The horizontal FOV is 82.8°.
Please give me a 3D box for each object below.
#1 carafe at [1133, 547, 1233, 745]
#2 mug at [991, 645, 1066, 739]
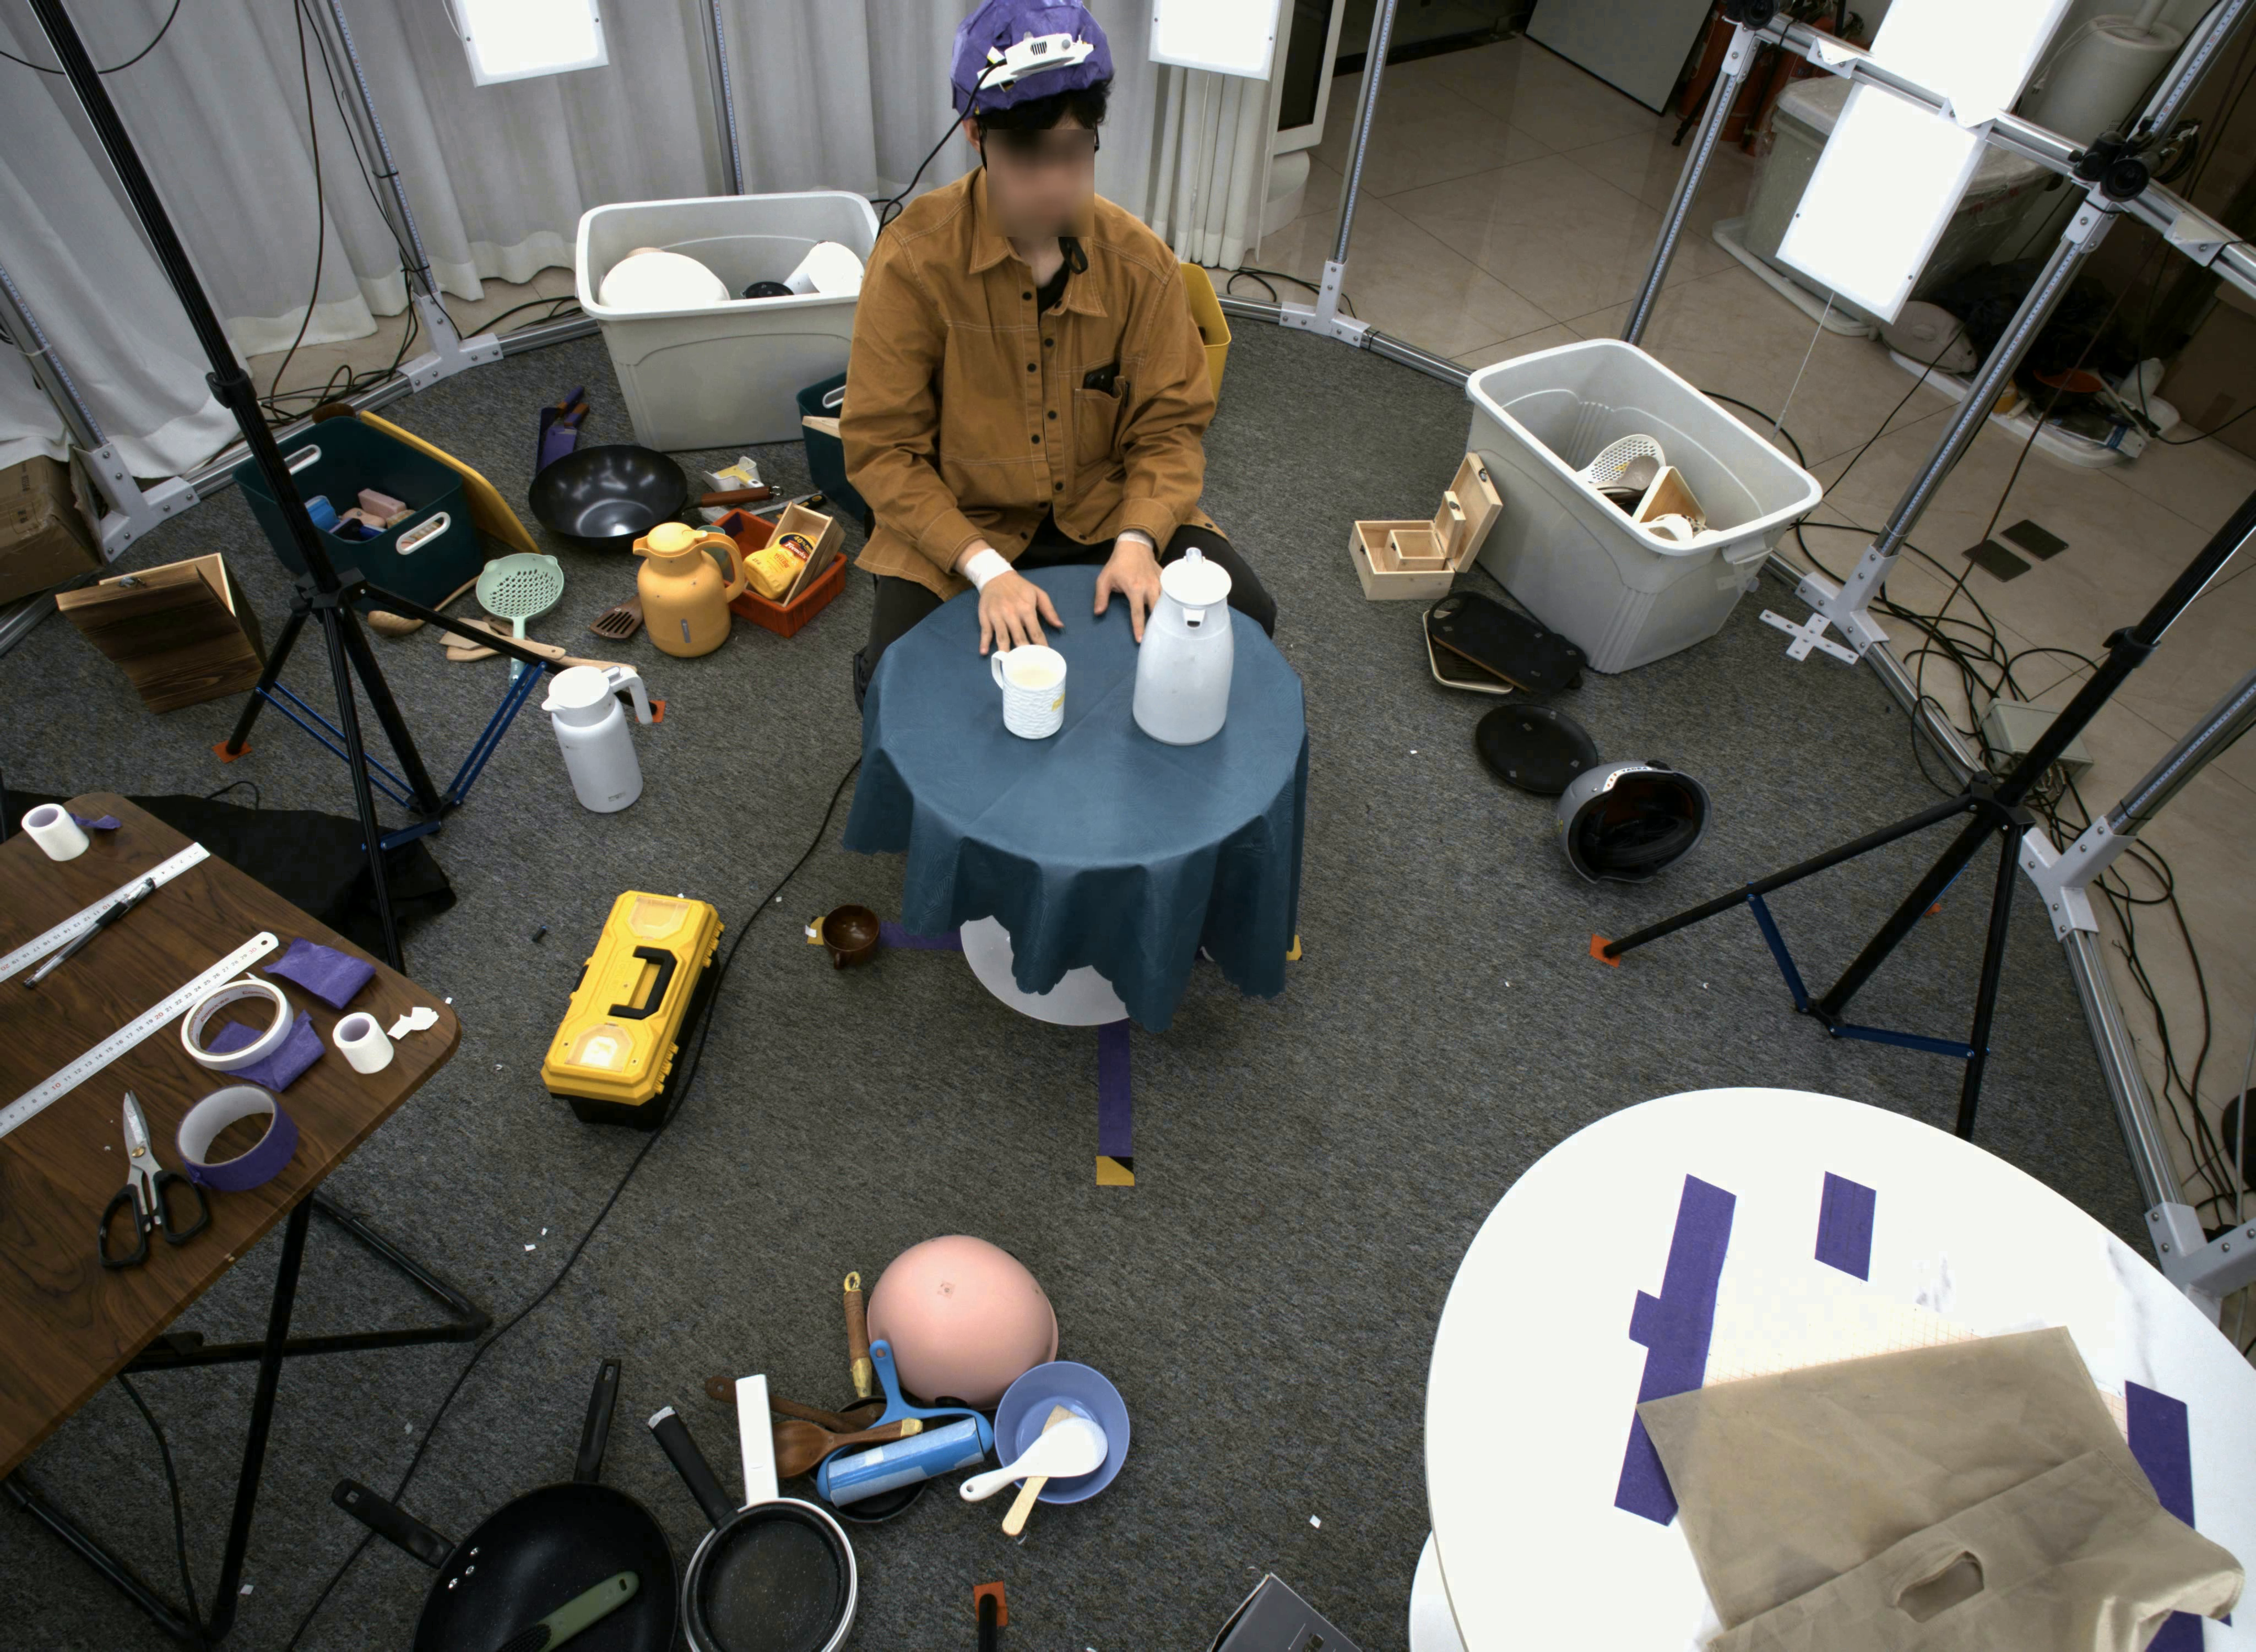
[{"bbox_3d":[0.078,-0.255,1.735,0.132,0.242,0.172,3,49,-1],"label":"carafe"},{"bbox_3d":[-0.141,-0.189,1.759,0.120,0.099,0.086,33,54,23],"label":"mug"}]
